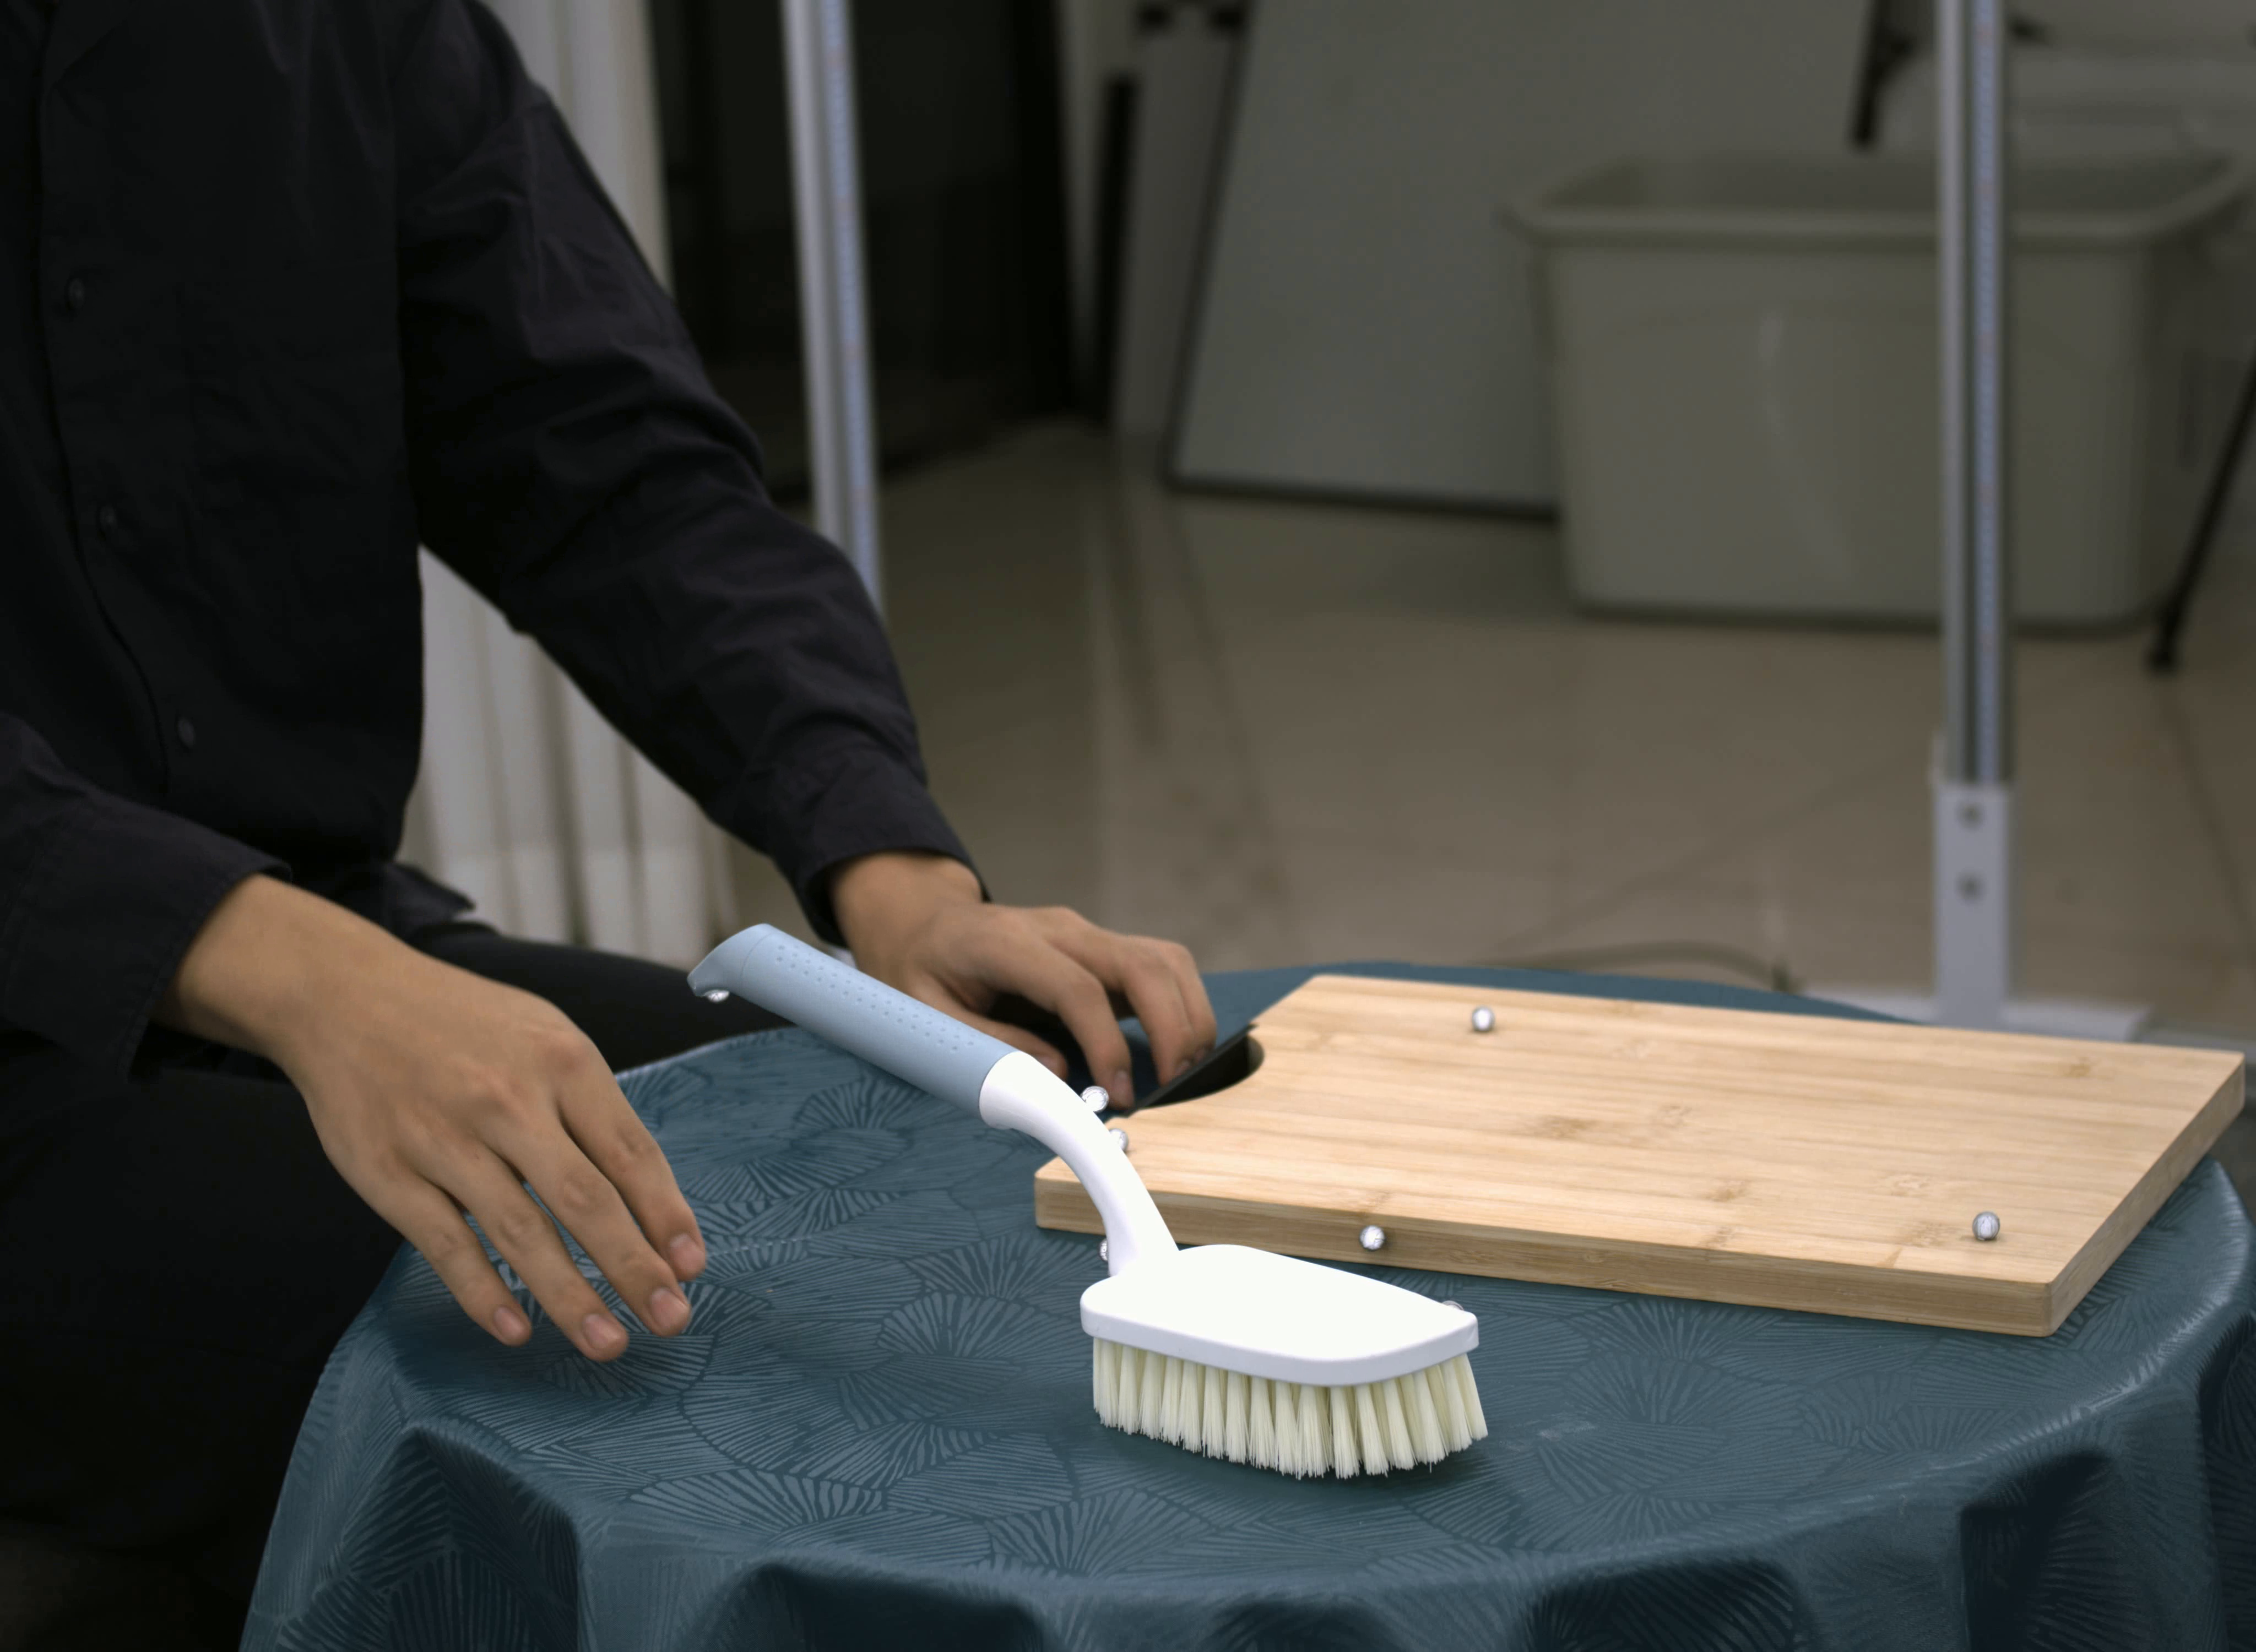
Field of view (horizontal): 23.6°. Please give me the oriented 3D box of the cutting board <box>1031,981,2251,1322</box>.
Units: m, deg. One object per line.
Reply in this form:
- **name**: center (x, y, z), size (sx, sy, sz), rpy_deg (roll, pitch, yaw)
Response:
- **cutting board**: center (0.171, 0.102, 1.764), size (0.349, 0.024, 0.247), rpy_deg (3, 15, 25)

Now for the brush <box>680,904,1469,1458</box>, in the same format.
- **brush**: center (-0.022, 0.118, 1.612), size (0.328, 0.085, 0.082), rpy_deg (25, -8, 40)
